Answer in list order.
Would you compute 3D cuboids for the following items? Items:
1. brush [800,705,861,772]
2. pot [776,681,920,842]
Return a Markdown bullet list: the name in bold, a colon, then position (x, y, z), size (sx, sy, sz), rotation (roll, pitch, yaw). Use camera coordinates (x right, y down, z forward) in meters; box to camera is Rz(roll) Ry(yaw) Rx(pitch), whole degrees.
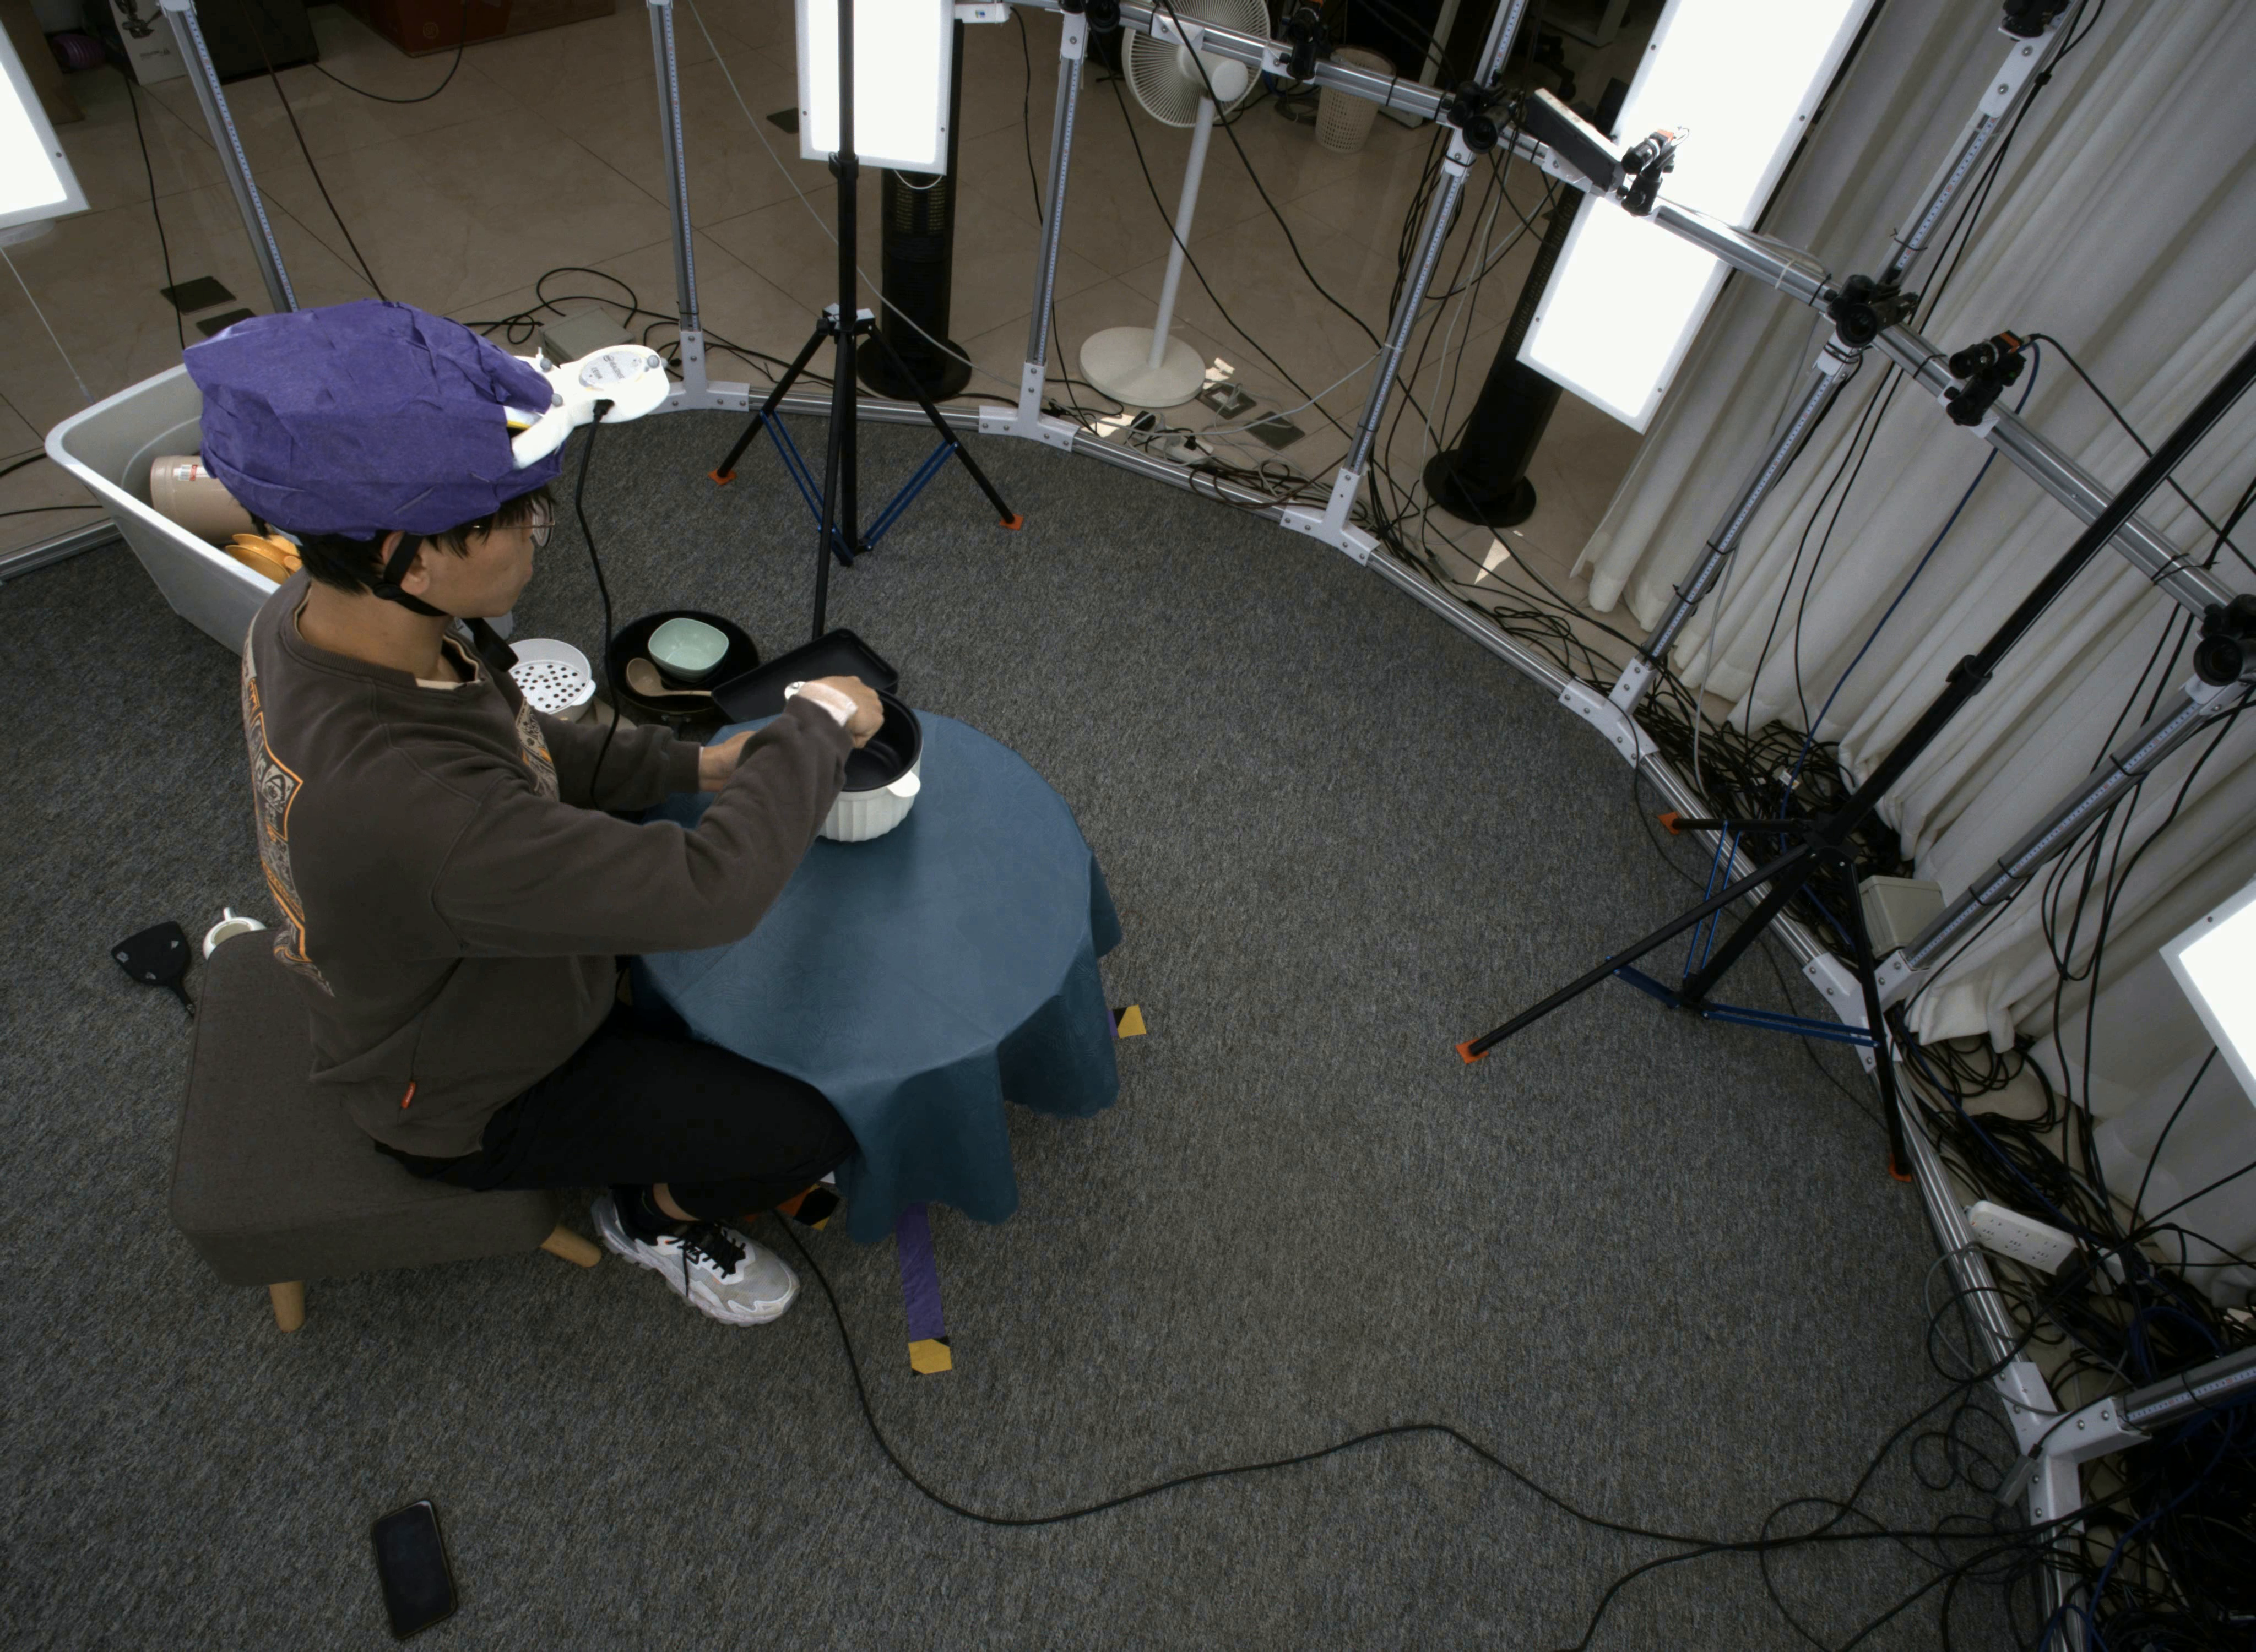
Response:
- **brush**: position (-0.355, -0.112, 1.592), size (0.096, 0.270, 0.034), rotation (-34, 92, -23)
- **pot**: position (-0.364, -0.081, 1.722), size (0.235, 0.145, 0.190), rotation (40, 60, 15)
